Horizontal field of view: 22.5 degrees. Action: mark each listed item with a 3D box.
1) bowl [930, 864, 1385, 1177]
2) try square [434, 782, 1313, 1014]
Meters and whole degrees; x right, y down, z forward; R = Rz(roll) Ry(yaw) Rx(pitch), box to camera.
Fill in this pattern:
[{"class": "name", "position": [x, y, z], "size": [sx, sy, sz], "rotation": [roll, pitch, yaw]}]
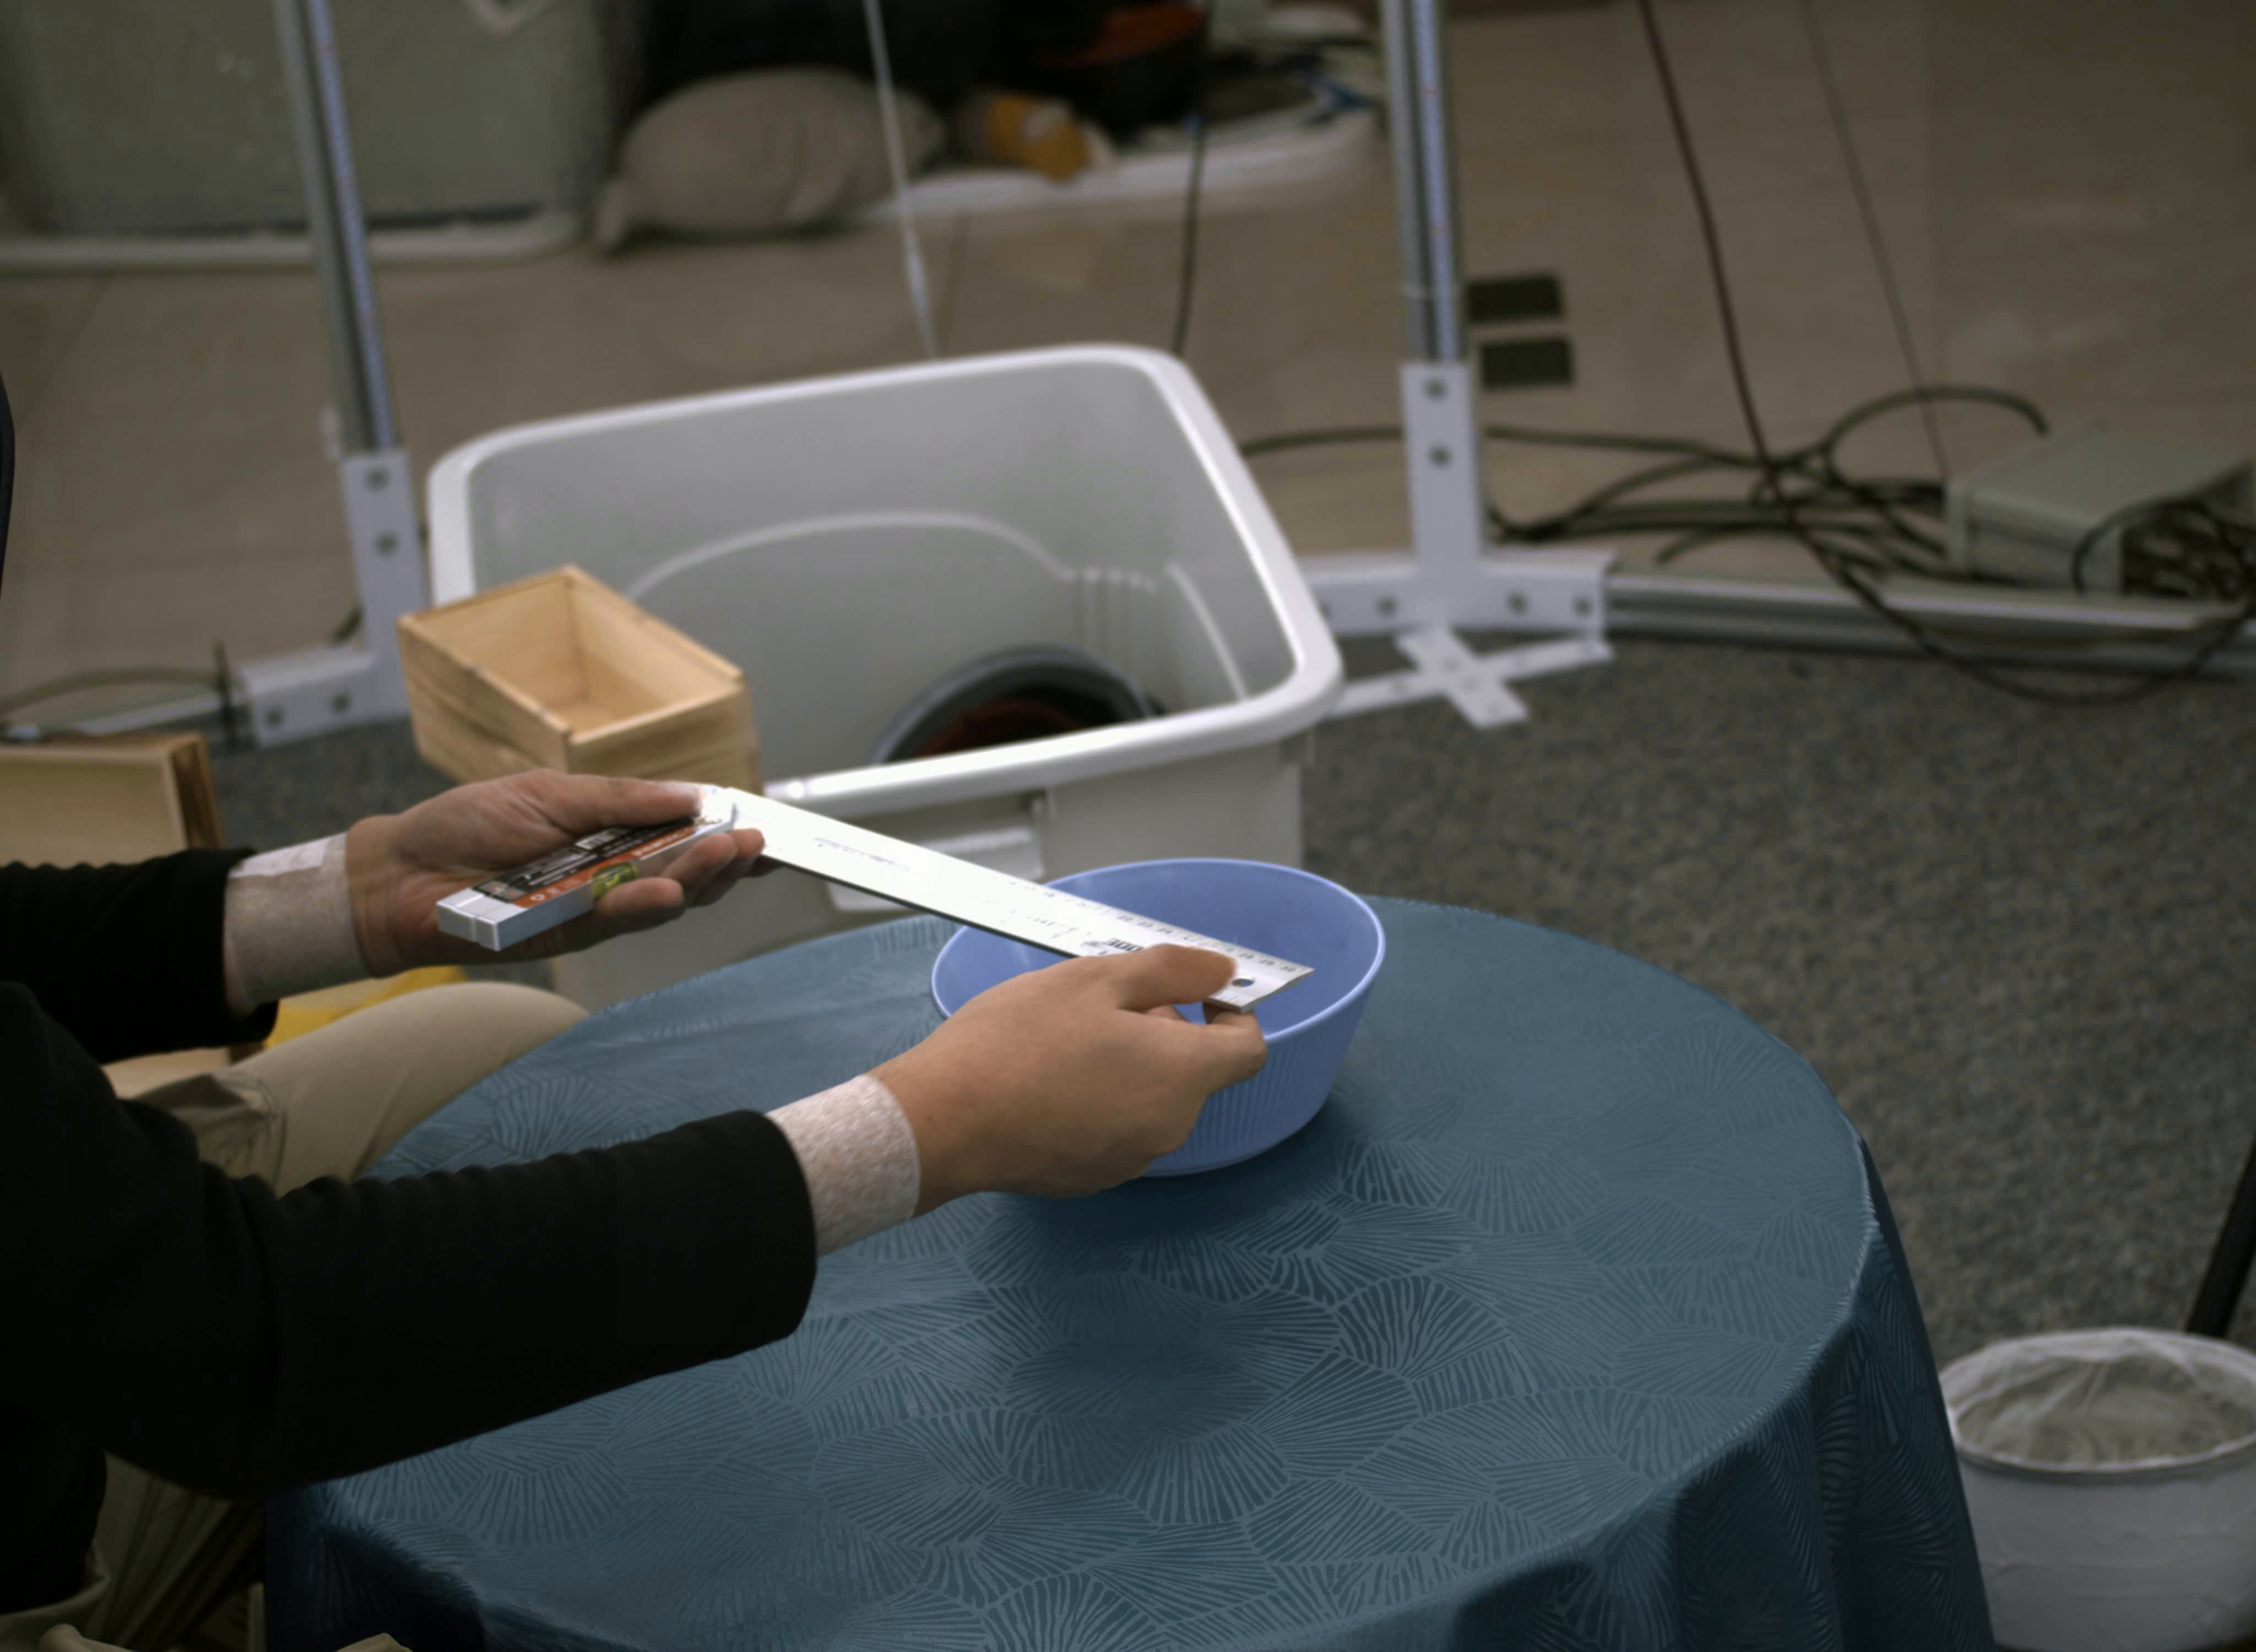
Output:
[{"class": "bowl", "position": [0.014, 0.080, 2.187], "size": [0.176, 0.071, 0.173], "rotation": [-5, 25, 2]}, {"class": "try square", "position": [-0.097, 0.044, 2.071], "size": [0.310, 0.016, 0.151], "rotation": [17, 33, 41]}]
